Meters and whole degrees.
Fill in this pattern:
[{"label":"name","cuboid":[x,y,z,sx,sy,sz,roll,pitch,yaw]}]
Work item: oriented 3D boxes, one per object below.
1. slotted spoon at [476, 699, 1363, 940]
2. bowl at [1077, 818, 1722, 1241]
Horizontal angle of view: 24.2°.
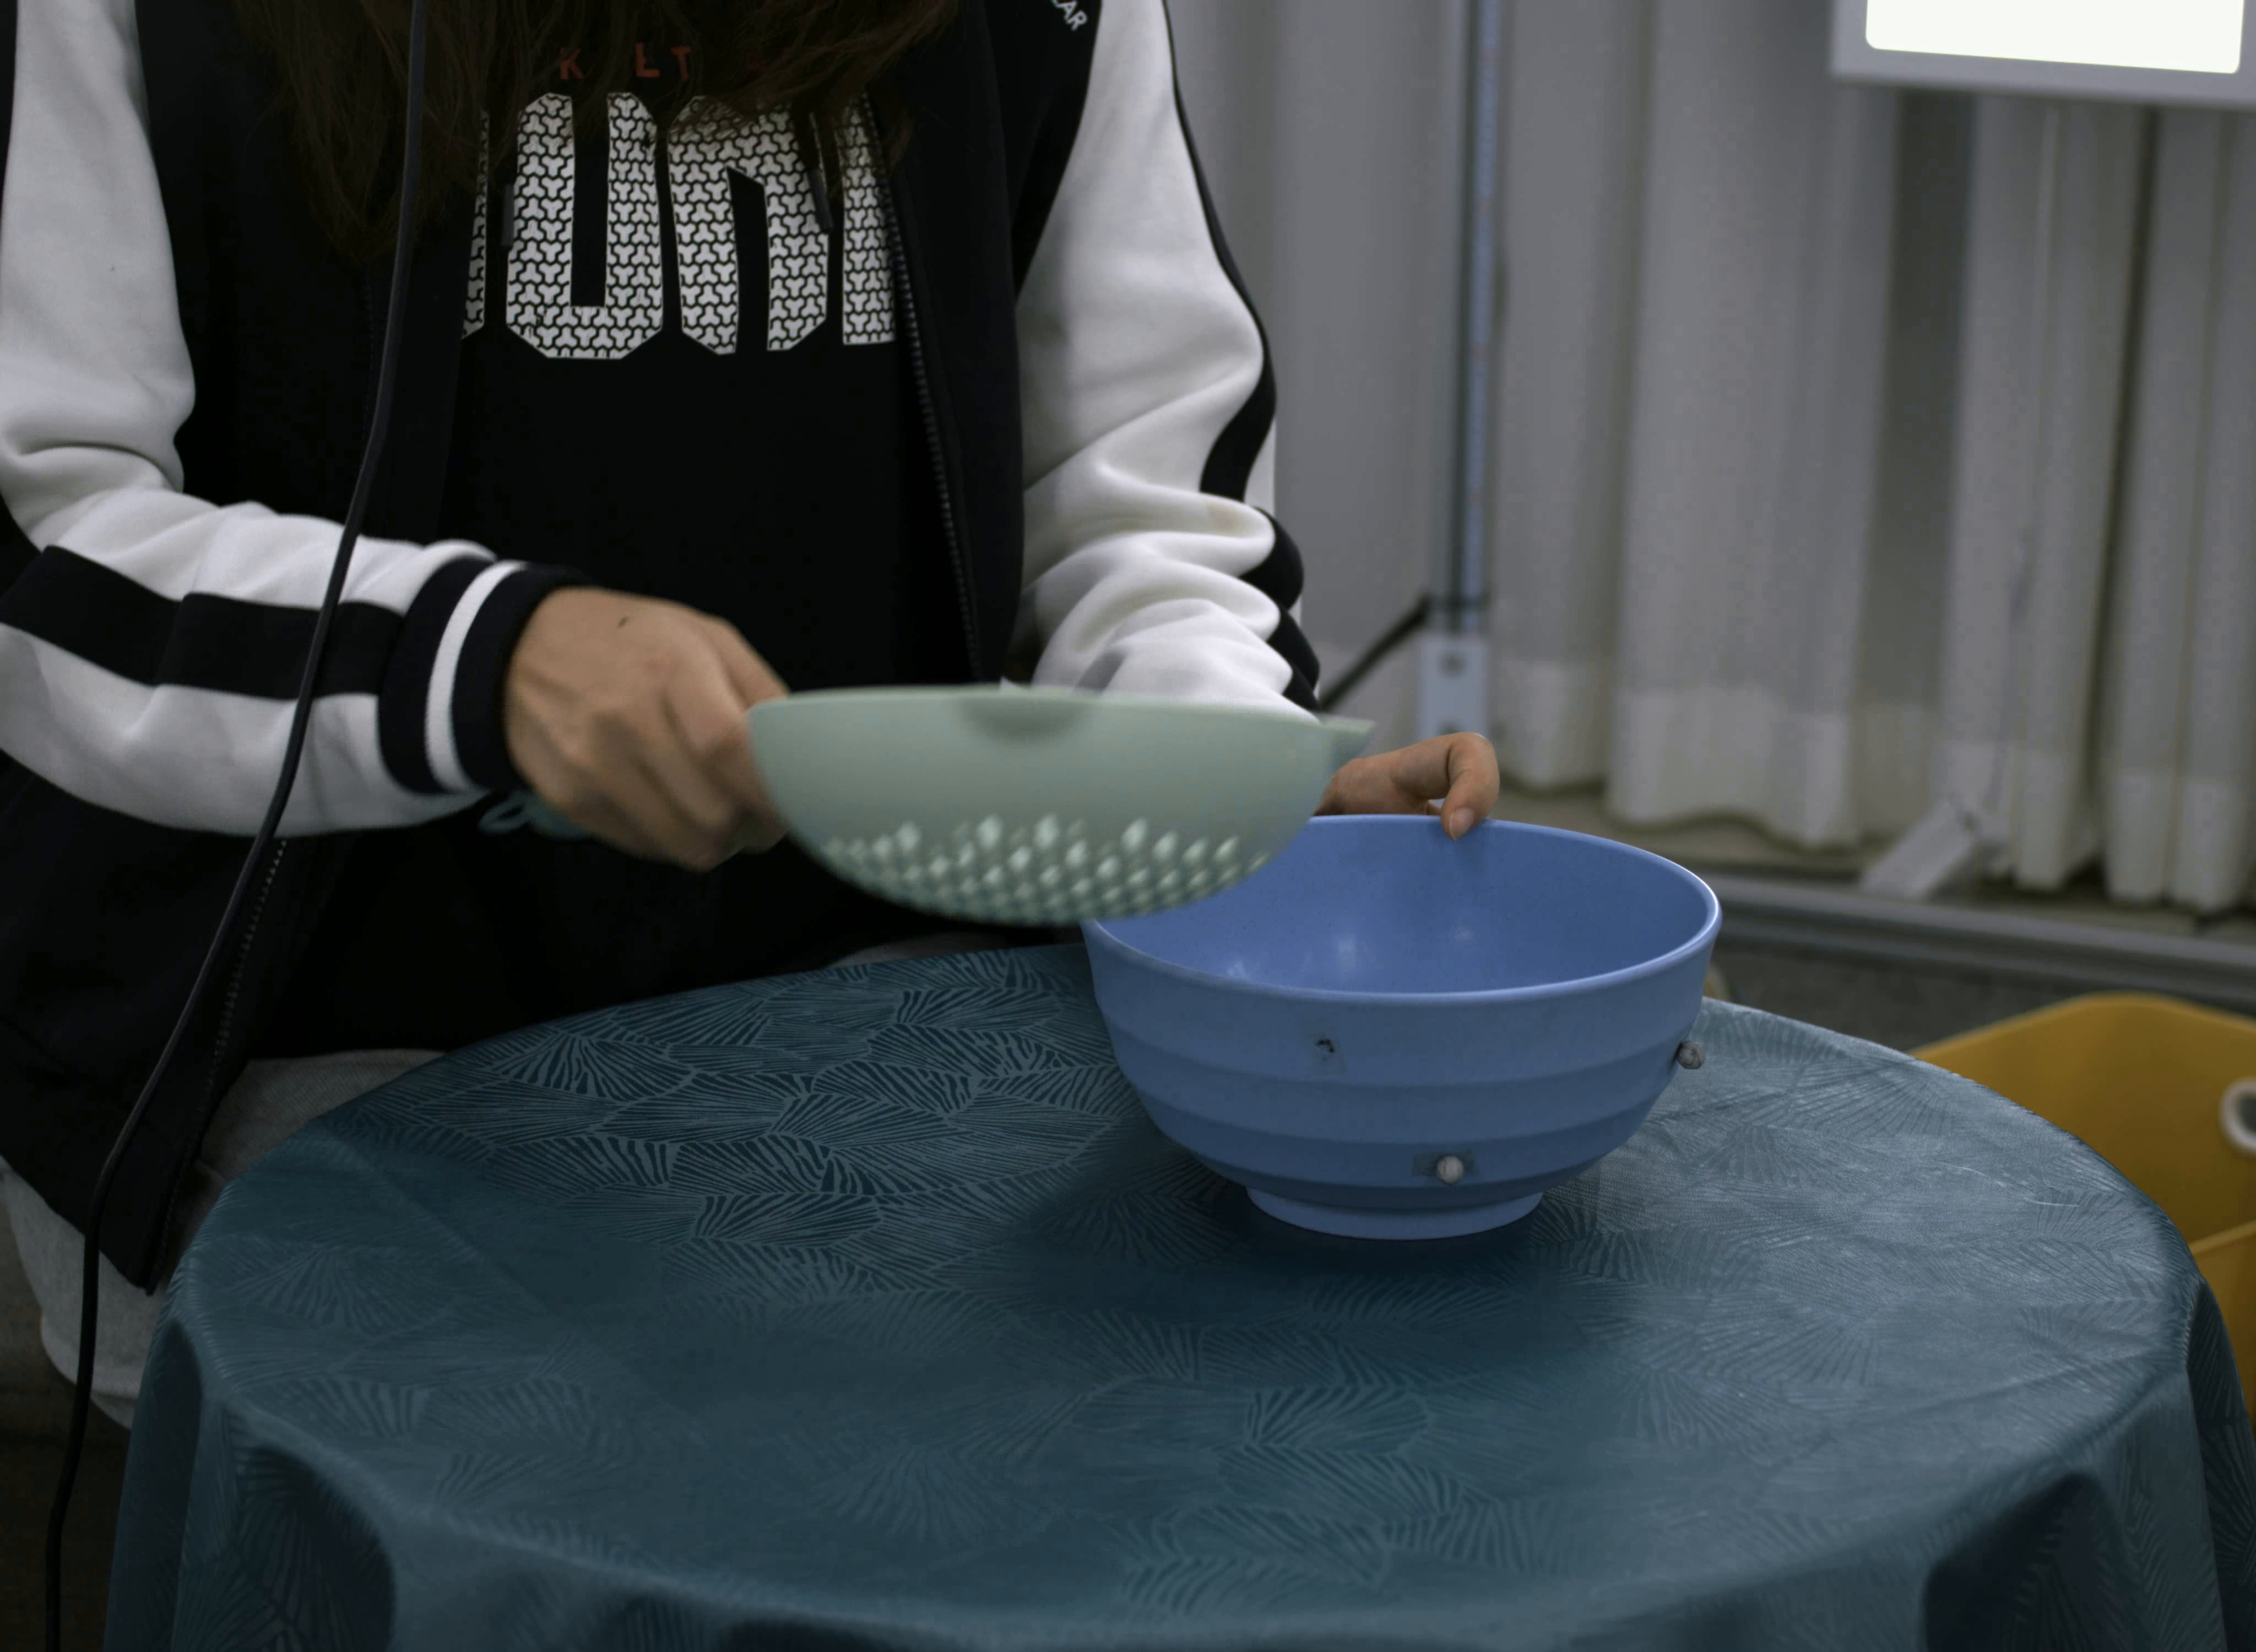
[{"label":"slotted spoon","cuboid":[-0.090,-0.009,1.549,0.171,0.075,0.354,6,1,-40]},{"label":"bowl","cuboid":[0.082,0.067,1.609,0.196,0.096,0.195,0,16,1]}]
